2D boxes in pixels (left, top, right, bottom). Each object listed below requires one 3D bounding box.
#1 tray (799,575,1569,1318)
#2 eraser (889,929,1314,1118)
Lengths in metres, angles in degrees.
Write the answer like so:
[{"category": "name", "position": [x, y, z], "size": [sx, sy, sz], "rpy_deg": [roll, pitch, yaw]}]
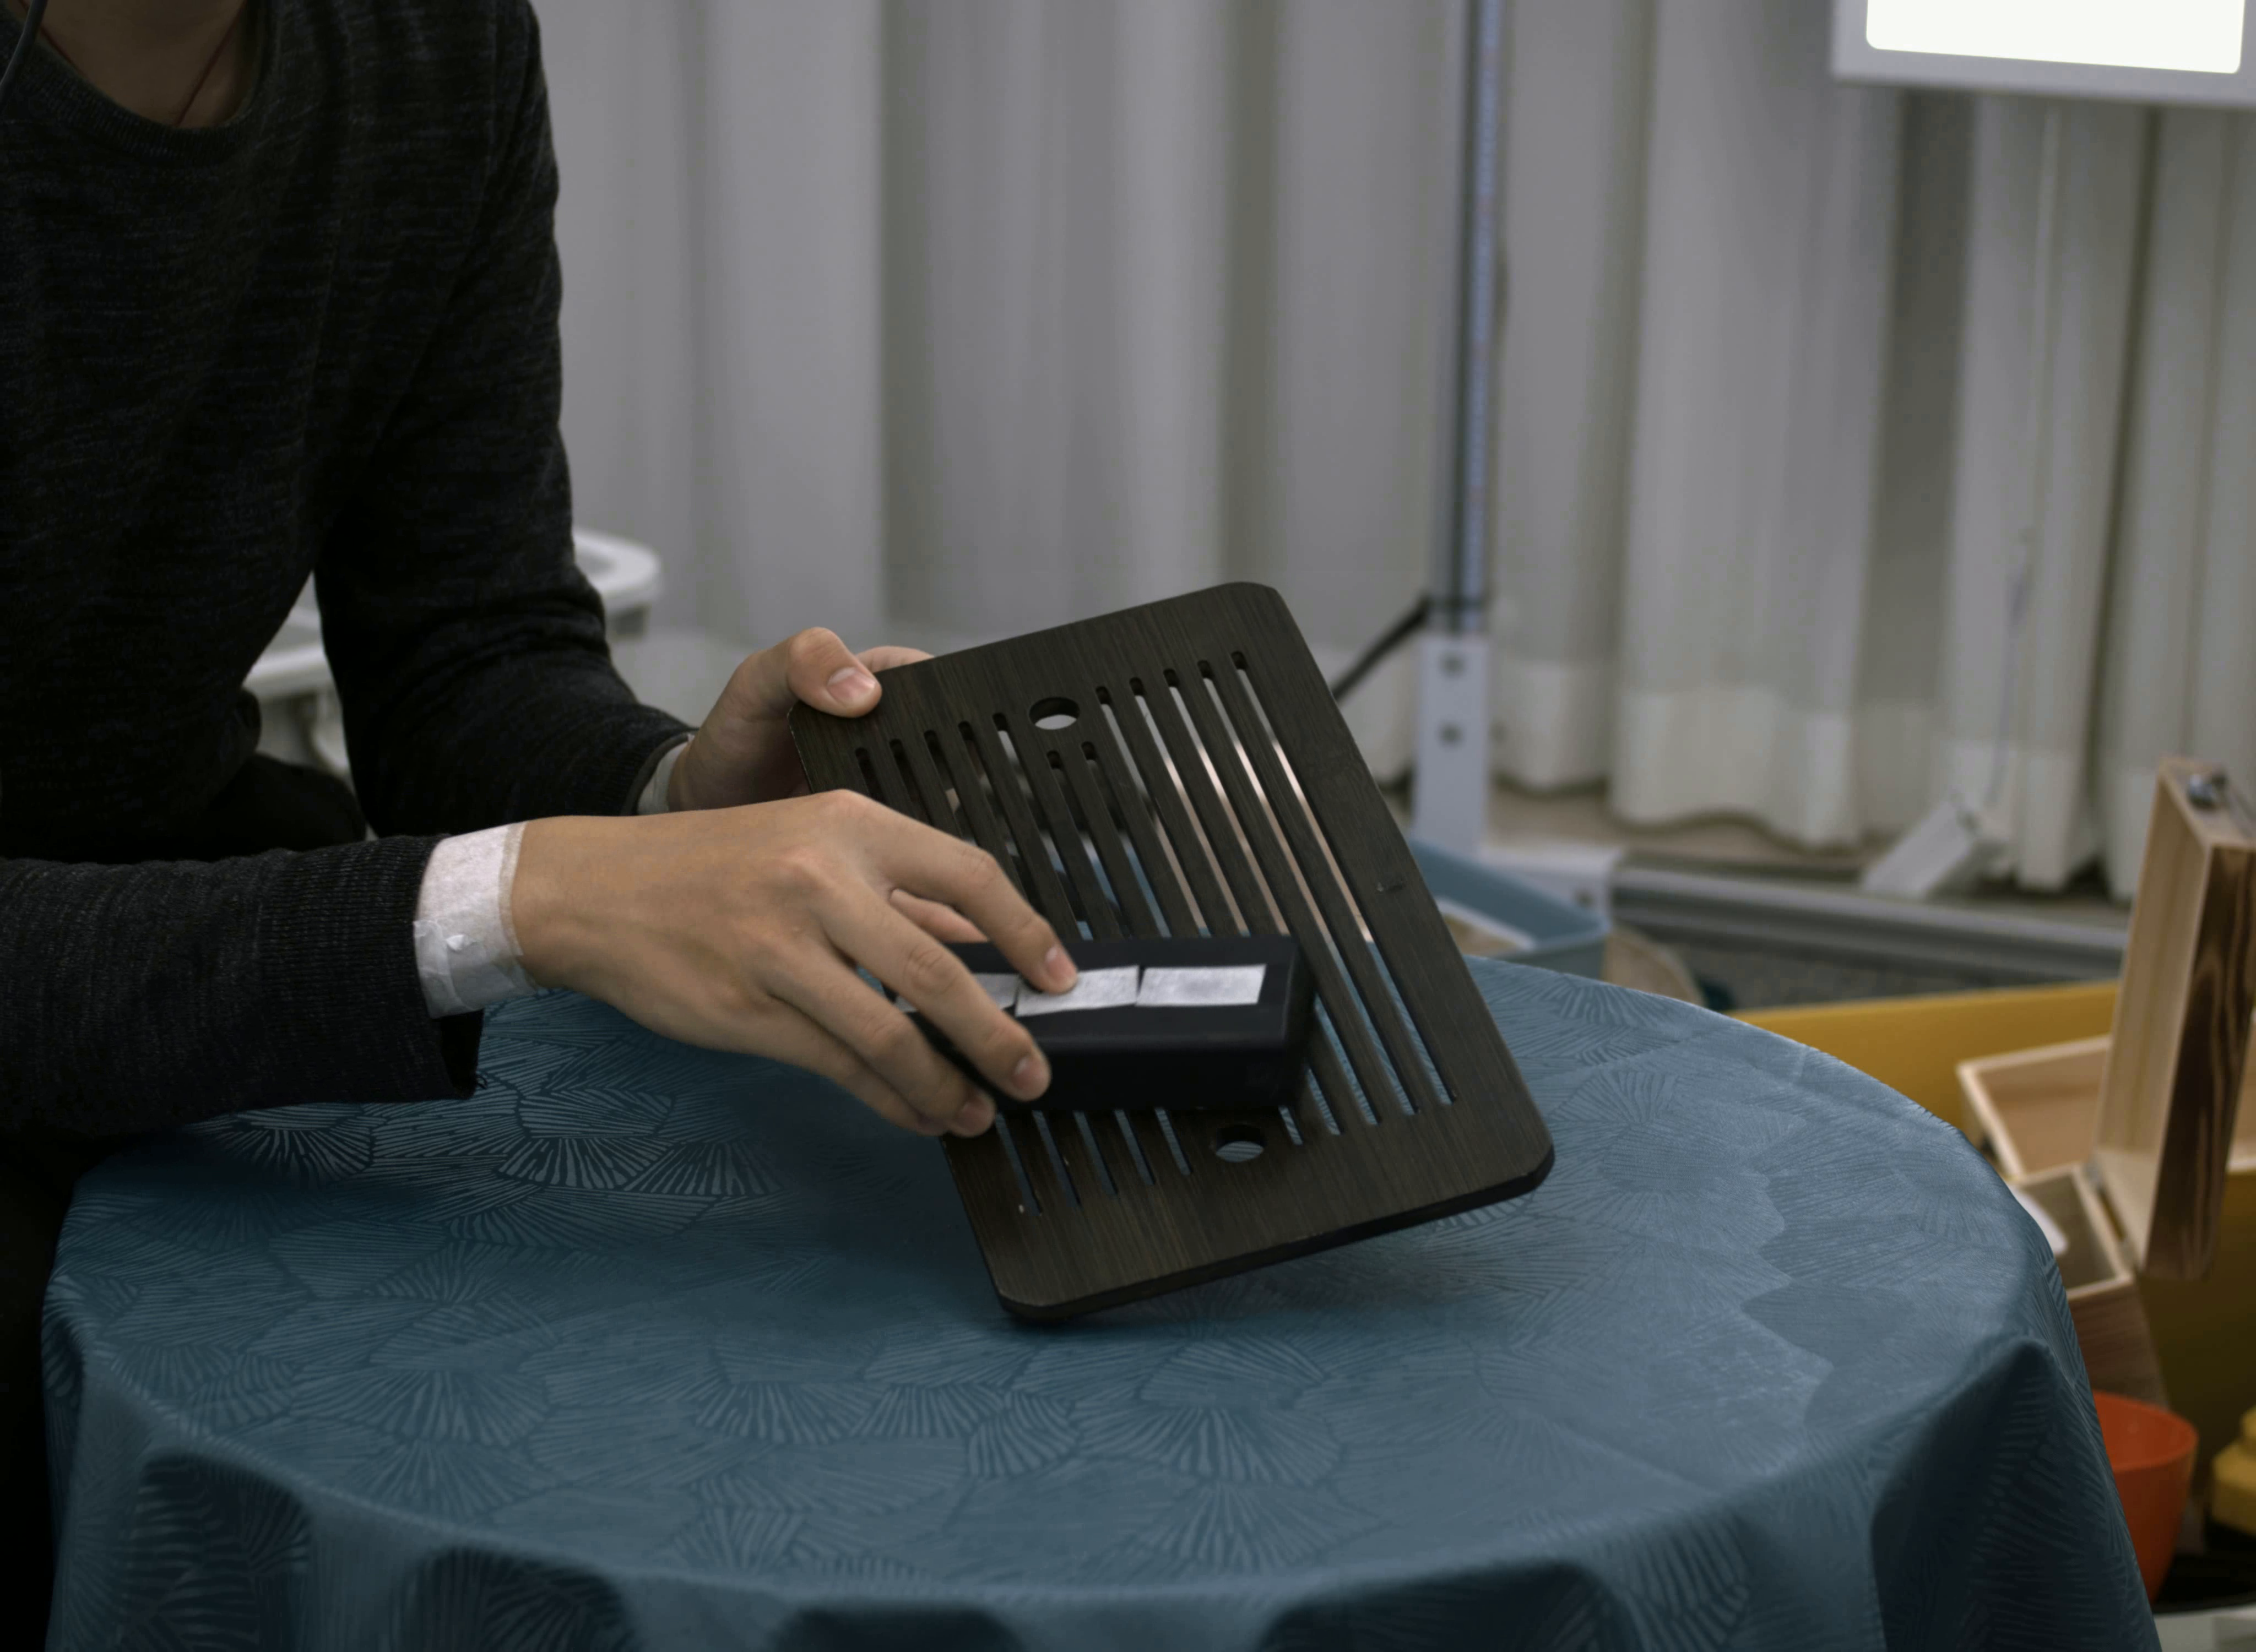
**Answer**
[{"category": "tray", "position": [0.011, 0.032, 1.625], "size": [0.170, 0.019, 0.302], "rpy_deg": [-15, 41, -8]}, {"category": "eraser", "position": [-0.006, 0.058, 1.565], "size": [0.125, 0.031, 0.053], "rpy_deg": [-4, 38, 8]}]
